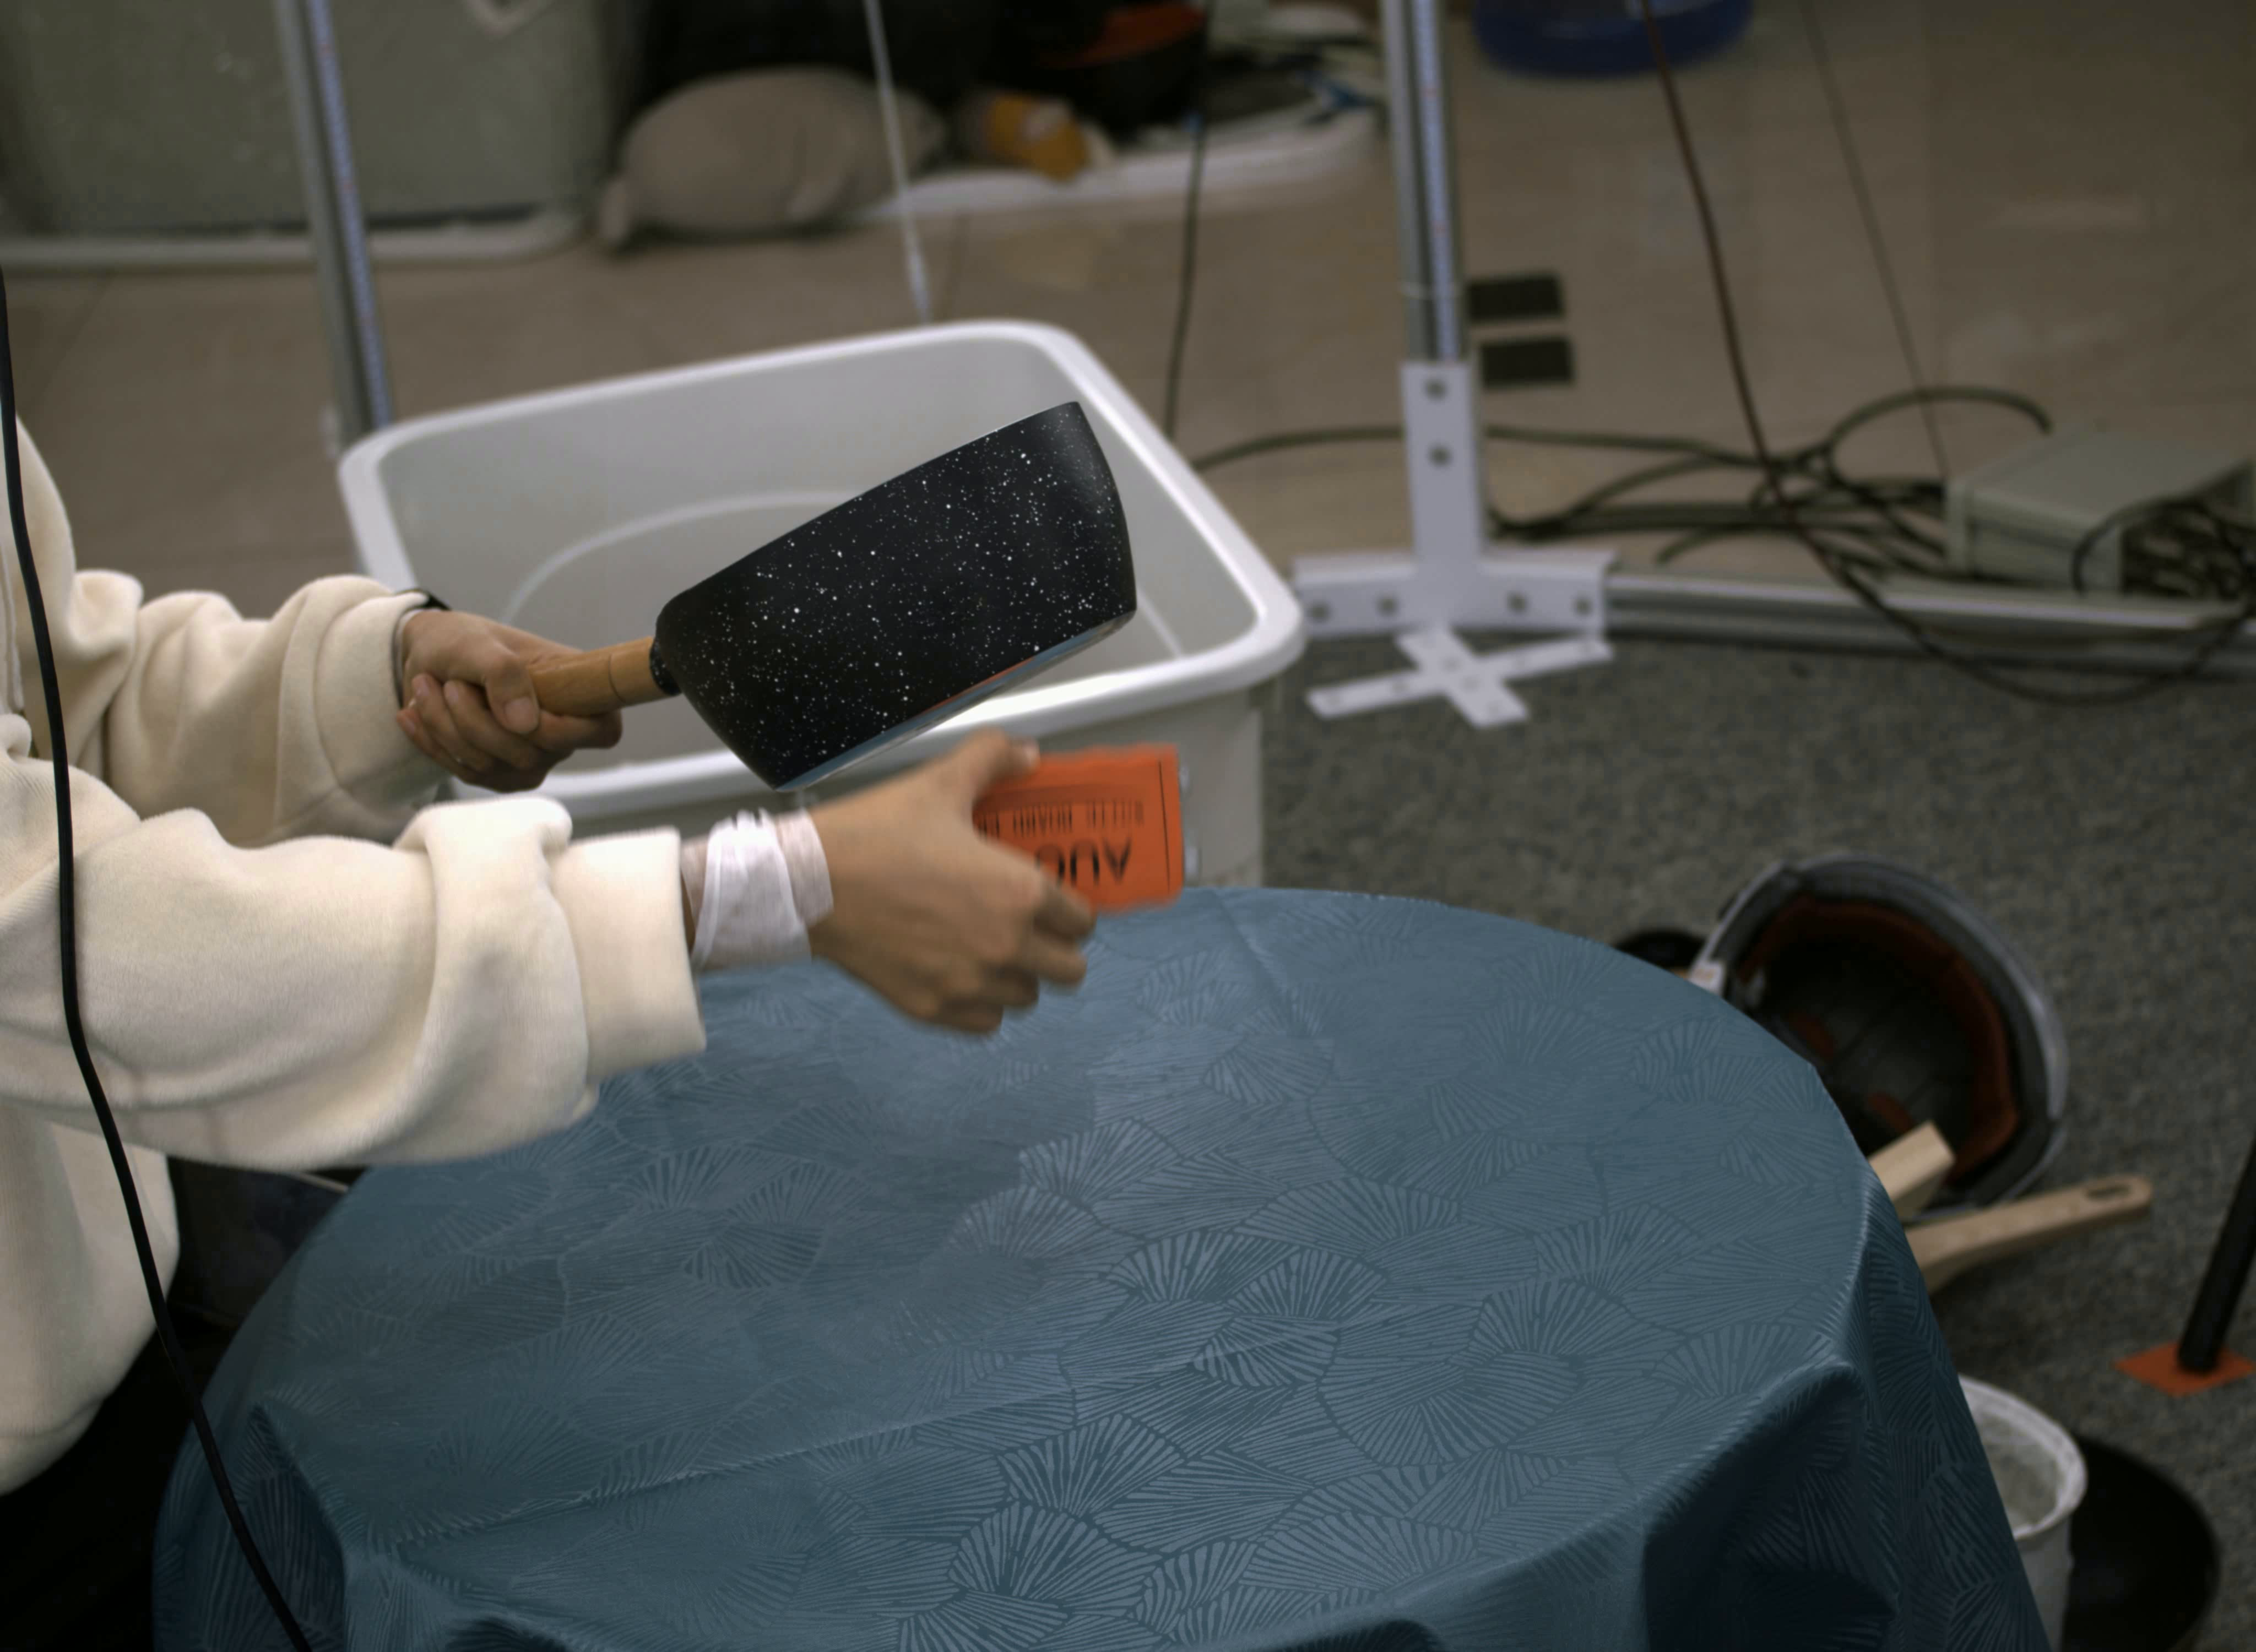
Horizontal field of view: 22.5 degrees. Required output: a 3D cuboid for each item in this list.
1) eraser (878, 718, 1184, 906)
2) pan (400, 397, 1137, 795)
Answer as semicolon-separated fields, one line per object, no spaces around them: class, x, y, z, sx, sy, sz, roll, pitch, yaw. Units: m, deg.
eraser;-0.035;-0.005;2.061;0.108;0.059;0.023;-7;12;-14
pan;-0.146;-0.064;2.176;0.345;0.108;0.205;-24;3;36
